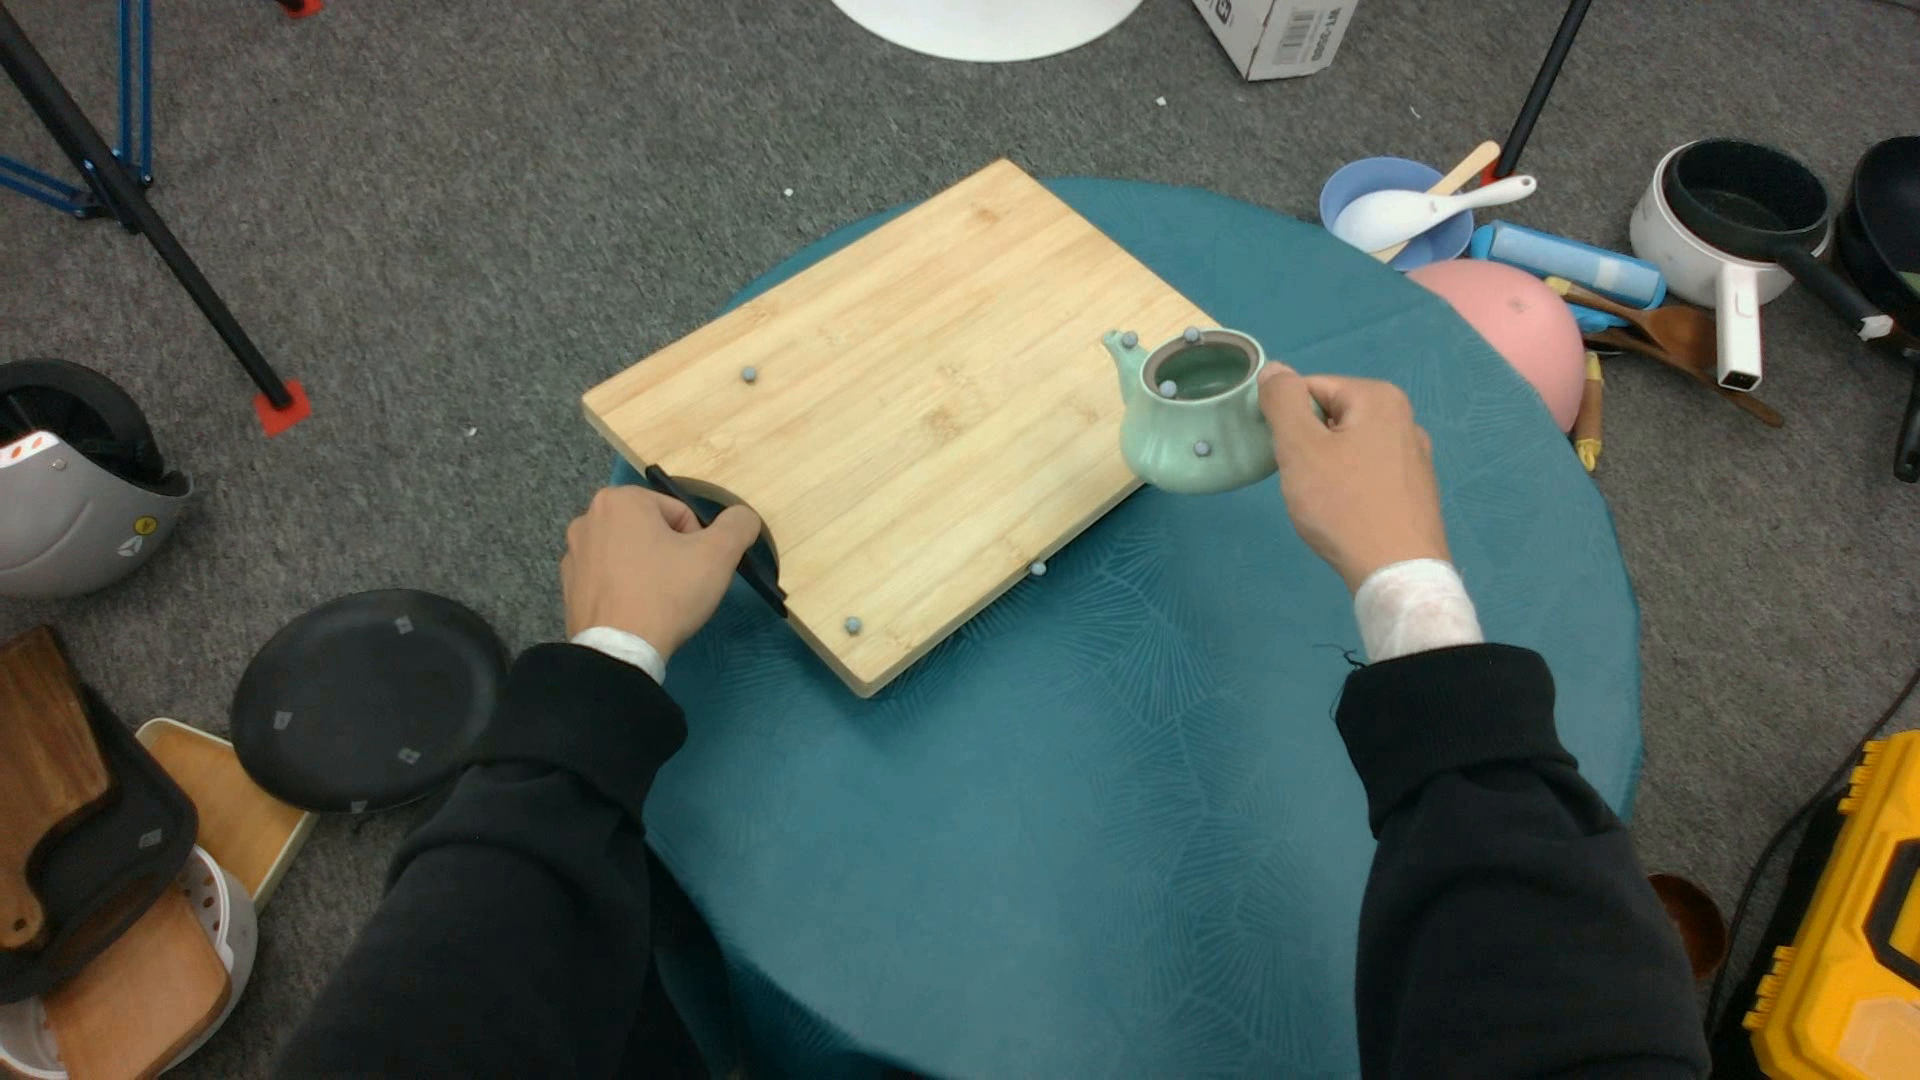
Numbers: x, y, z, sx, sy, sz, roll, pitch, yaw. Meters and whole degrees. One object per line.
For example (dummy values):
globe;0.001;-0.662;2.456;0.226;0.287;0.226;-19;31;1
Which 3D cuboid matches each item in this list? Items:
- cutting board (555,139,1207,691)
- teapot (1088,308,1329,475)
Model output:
cutting board;-0.019;-0.095;0.810;0.251;0.023;0.350;41;60;19
teapot;0.125;-0.076;0.692;0.137;0.061;0.096;22;54;41
